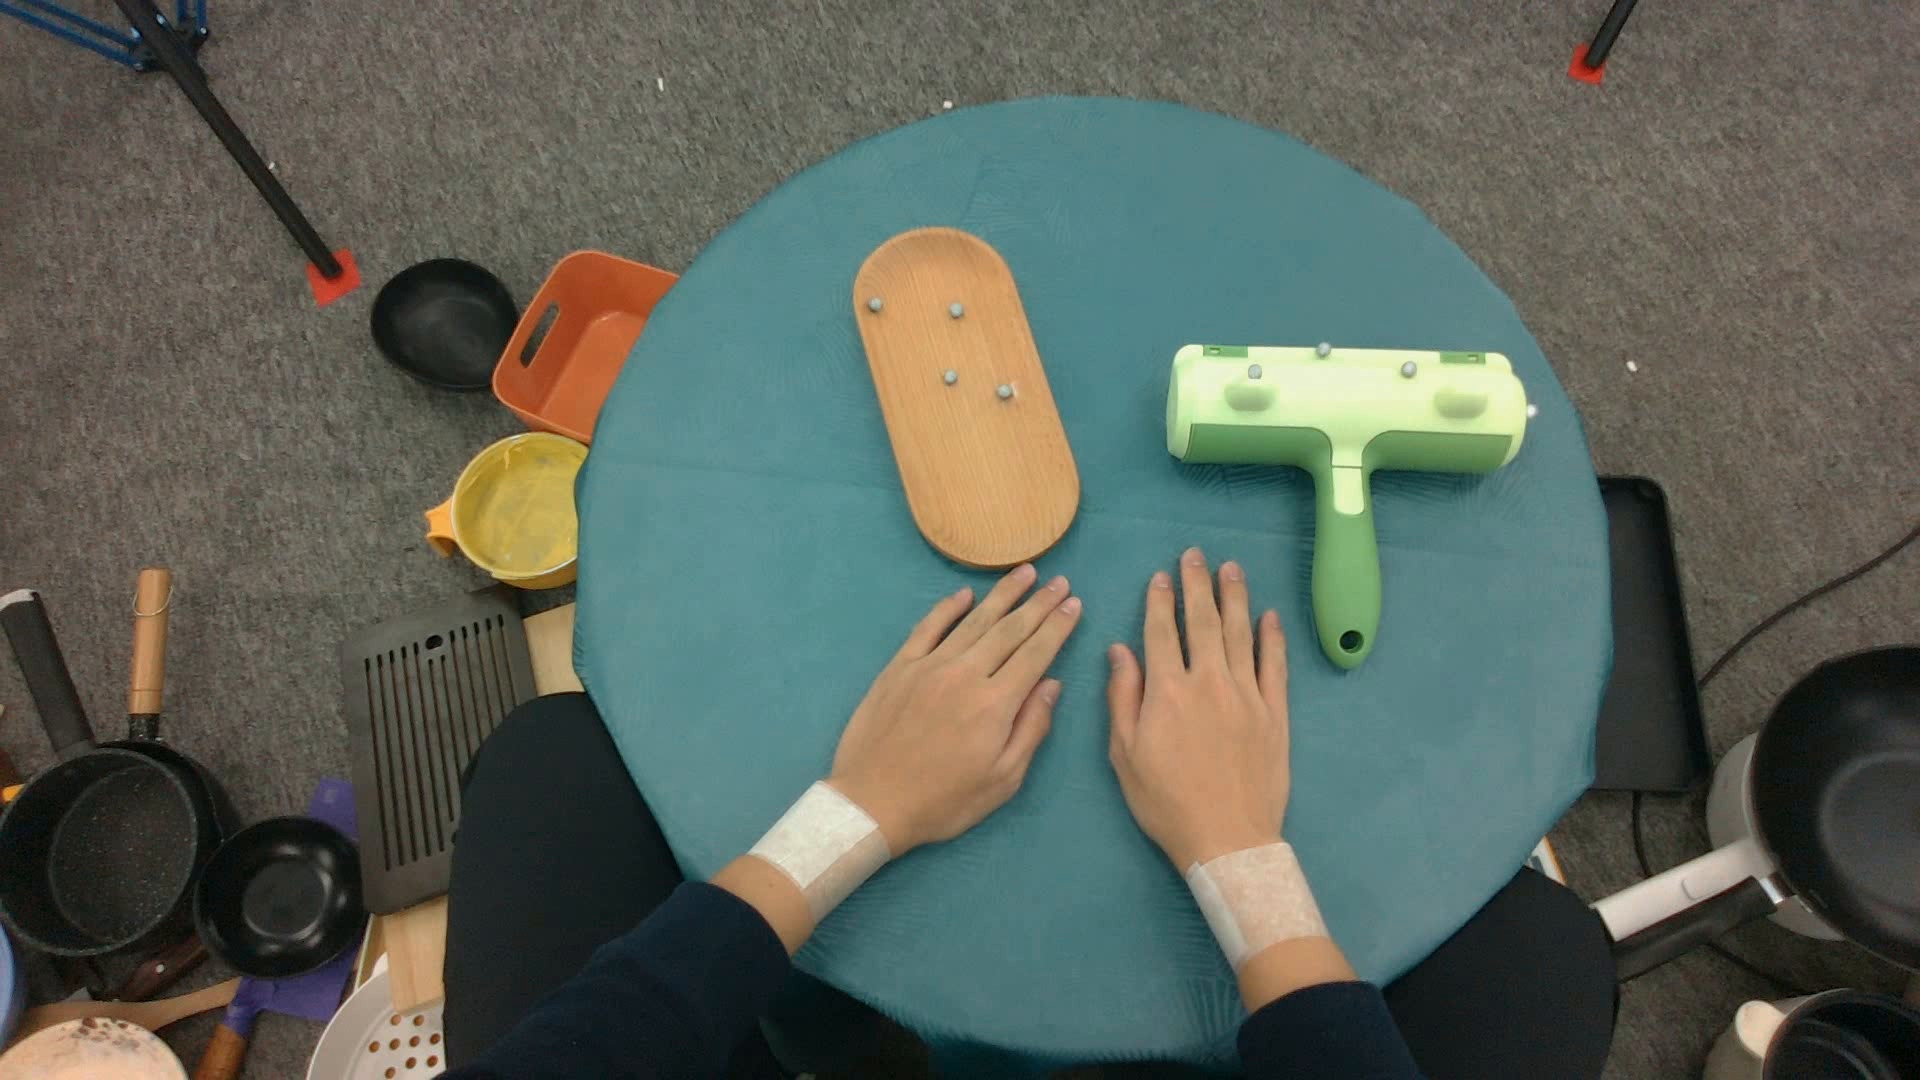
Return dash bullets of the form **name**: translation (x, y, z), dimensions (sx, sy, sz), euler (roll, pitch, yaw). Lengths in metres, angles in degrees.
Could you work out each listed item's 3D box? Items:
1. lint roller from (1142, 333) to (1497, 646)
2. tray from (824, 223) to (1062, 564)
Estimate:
- **lint roller**: translation (0.206, -0.038, 0.765), dimensions (0.198, 0.082, 0.184), euler (0, 62, 0)
- **tray**: translation (-0.012, -0.091, 0.821), dimensions (0.102, 0.020, 0.231), euler (-16, 70, -7)
